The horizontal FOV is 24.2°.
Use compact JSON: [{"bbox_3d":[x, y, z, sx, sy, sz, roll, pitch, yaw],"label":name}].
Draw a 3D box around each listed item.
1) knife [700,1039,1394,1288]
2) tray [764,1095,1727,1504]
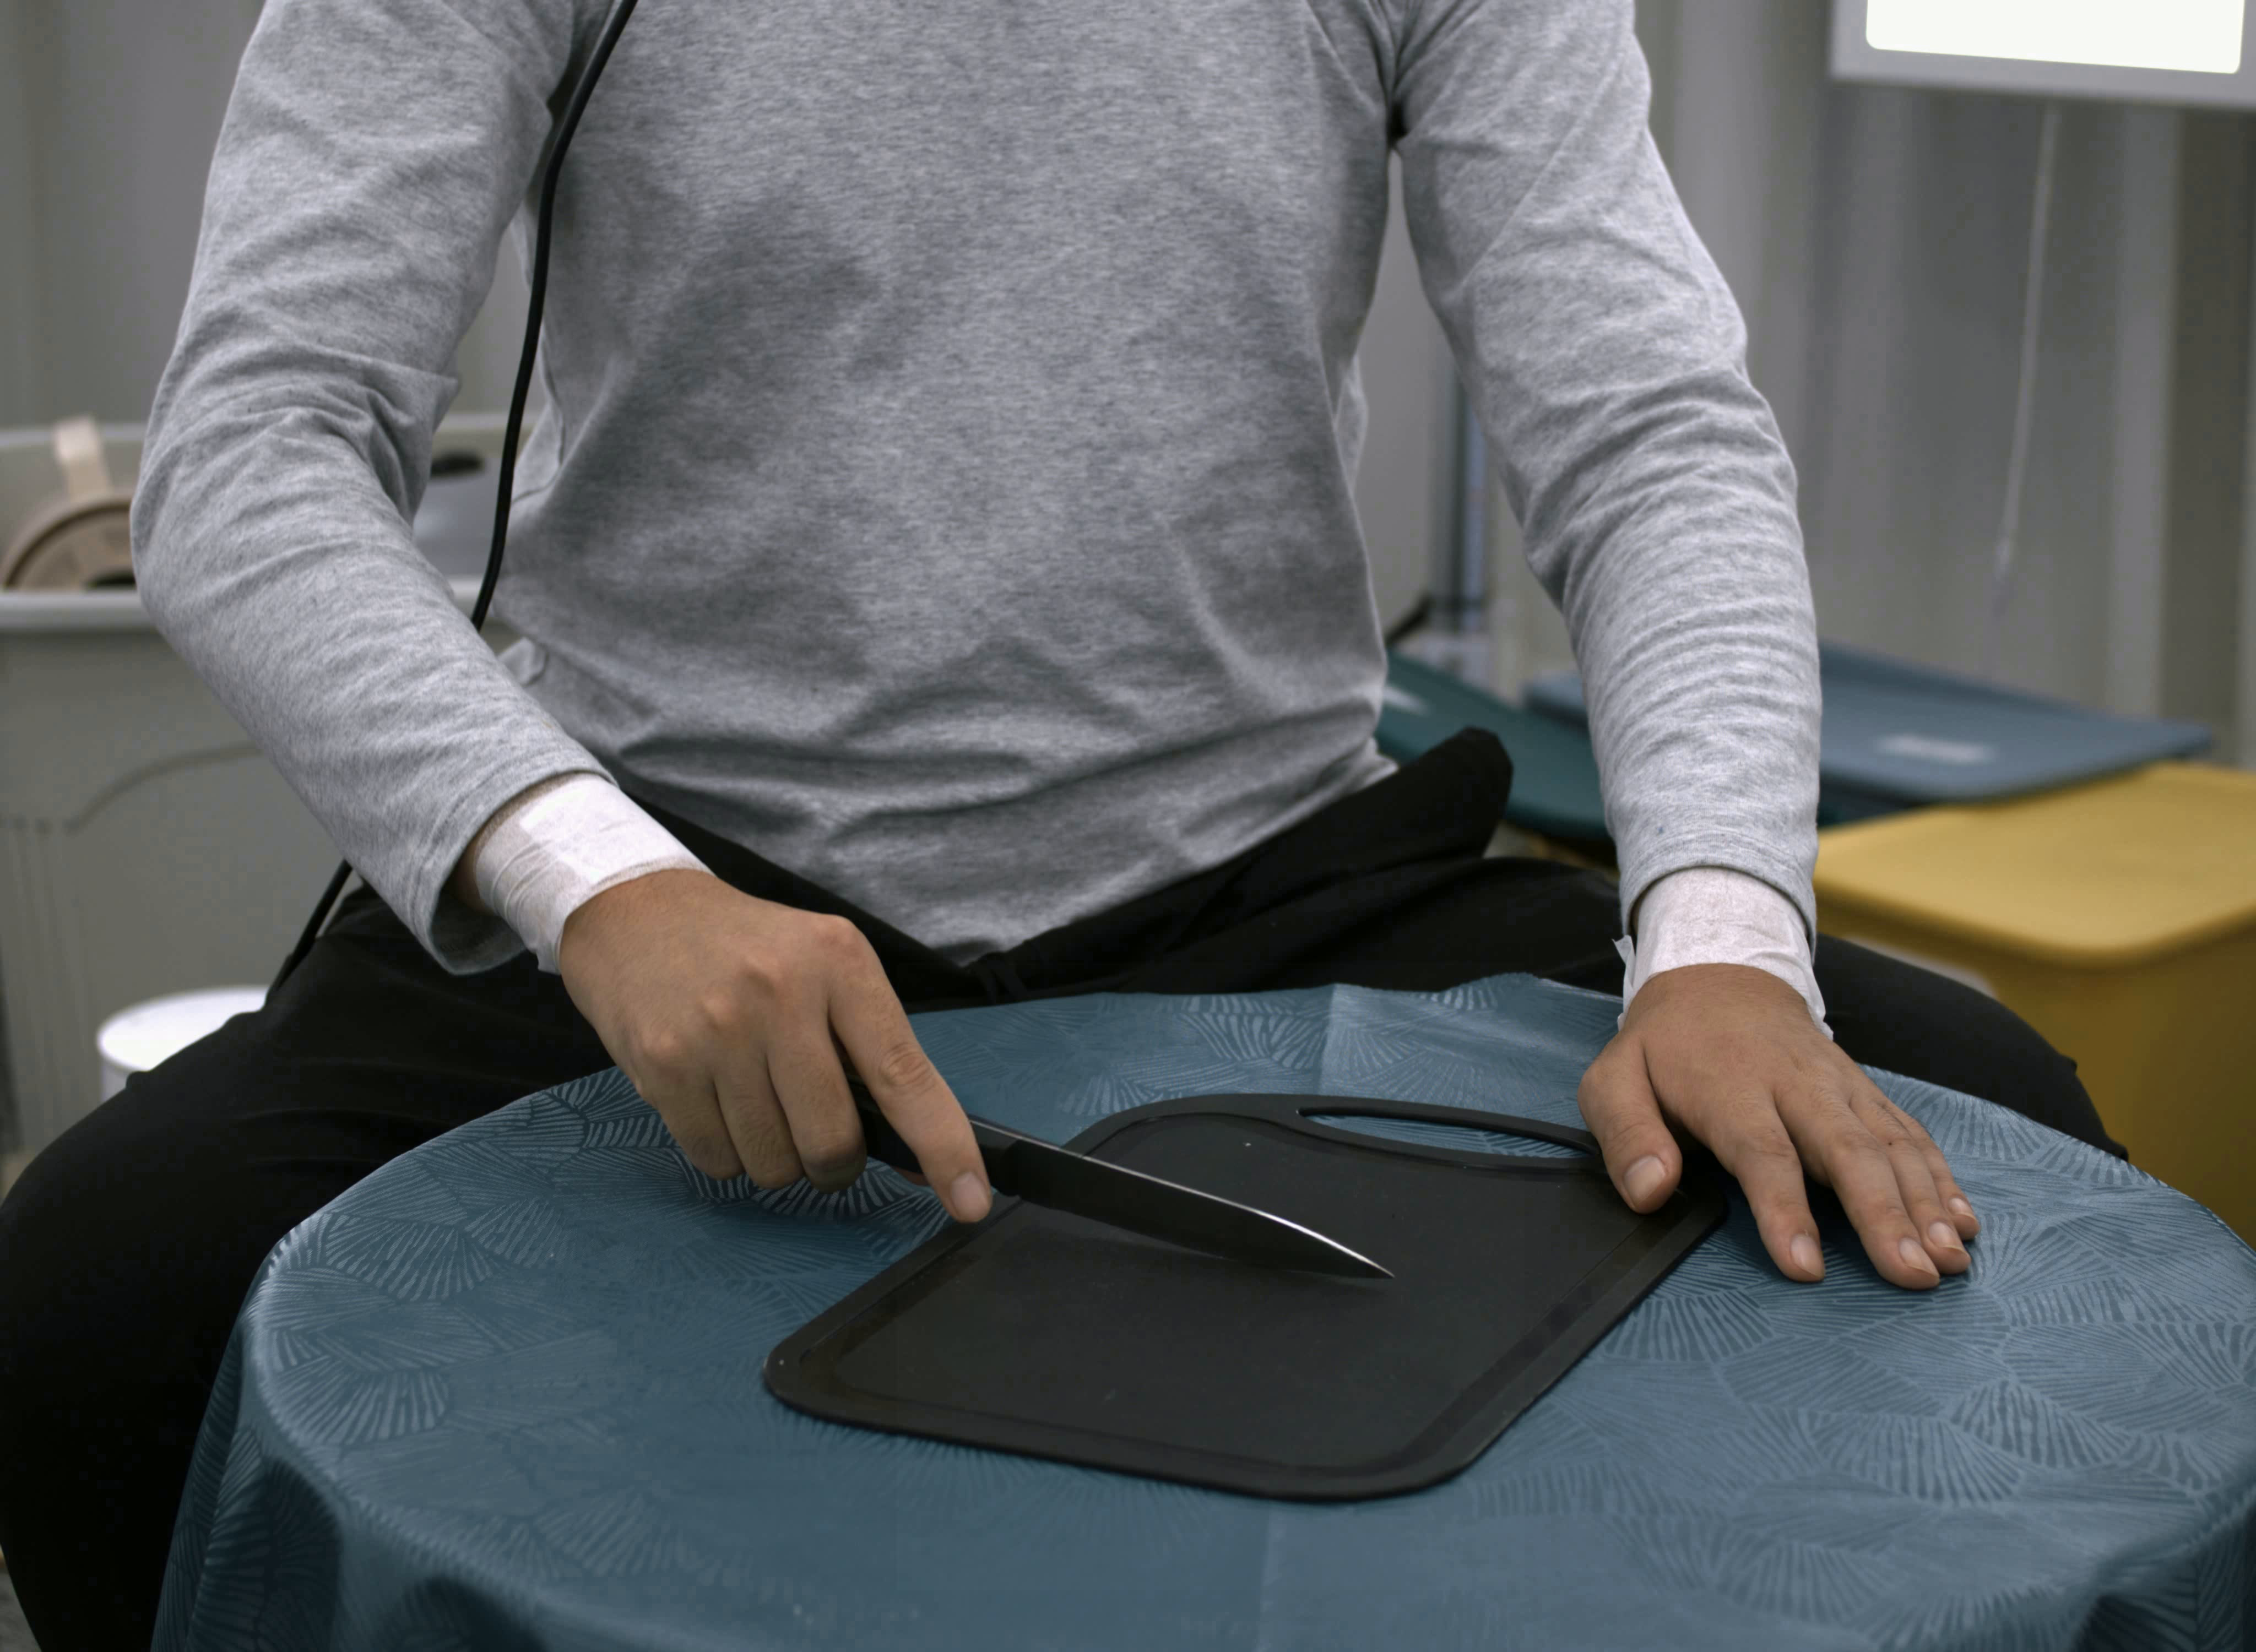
[{"bbox_3d":[-0.026,0.103,1.579,0.235,0.025,0.016,17,37,22],"label":"knife"},{"bbox_3d":[0.044,0.130,1.554,0.209,0.010,0.326,8,17,23],"label":"tray"}]
